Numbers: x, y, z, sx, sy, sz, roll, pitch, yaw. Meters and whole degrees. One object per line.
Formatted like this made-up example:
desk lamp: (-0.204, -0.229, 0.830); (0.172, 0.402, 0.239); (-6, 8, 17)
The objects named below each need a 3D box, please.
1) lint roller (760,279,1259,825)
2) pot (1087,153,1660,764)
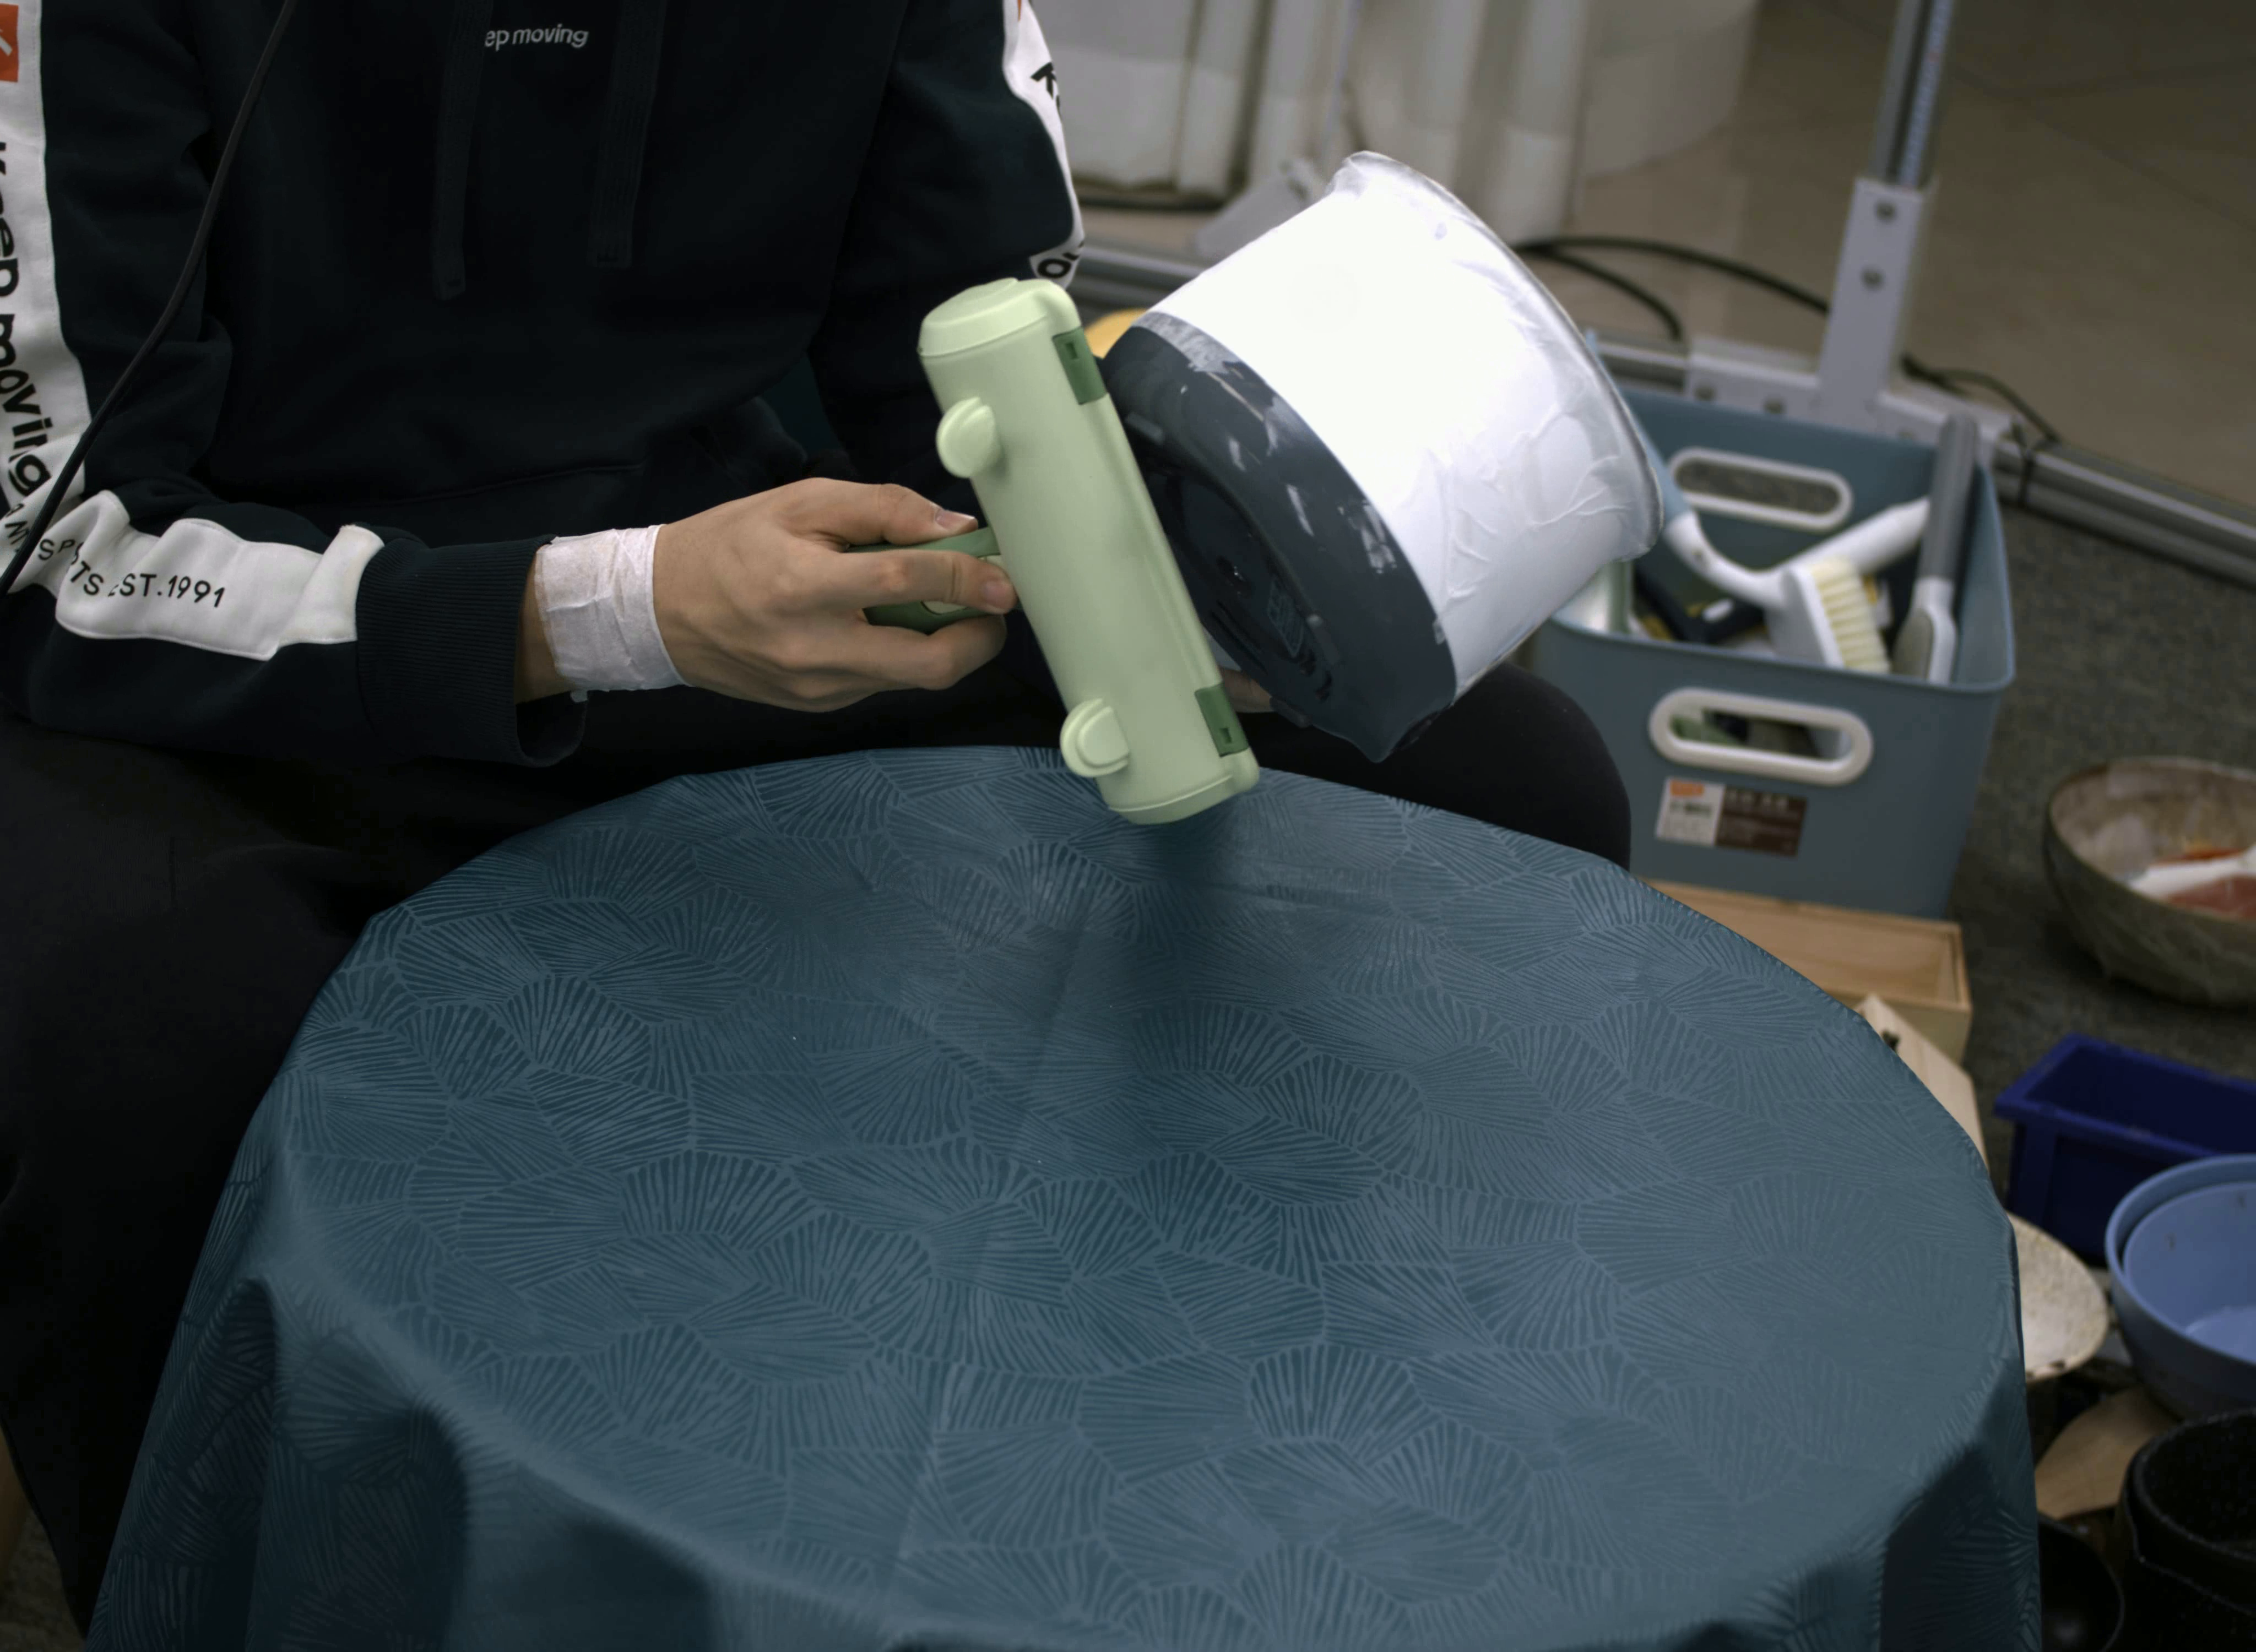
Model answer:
lint roller: (-0.065, -0.081, 1.877); (0.183, 0.198, 0.082); (-14, 19, 29)
pot: (0.079, -0.122, 1.909); (0.136, 0.233, 0.179); (-38, 82, -12)
